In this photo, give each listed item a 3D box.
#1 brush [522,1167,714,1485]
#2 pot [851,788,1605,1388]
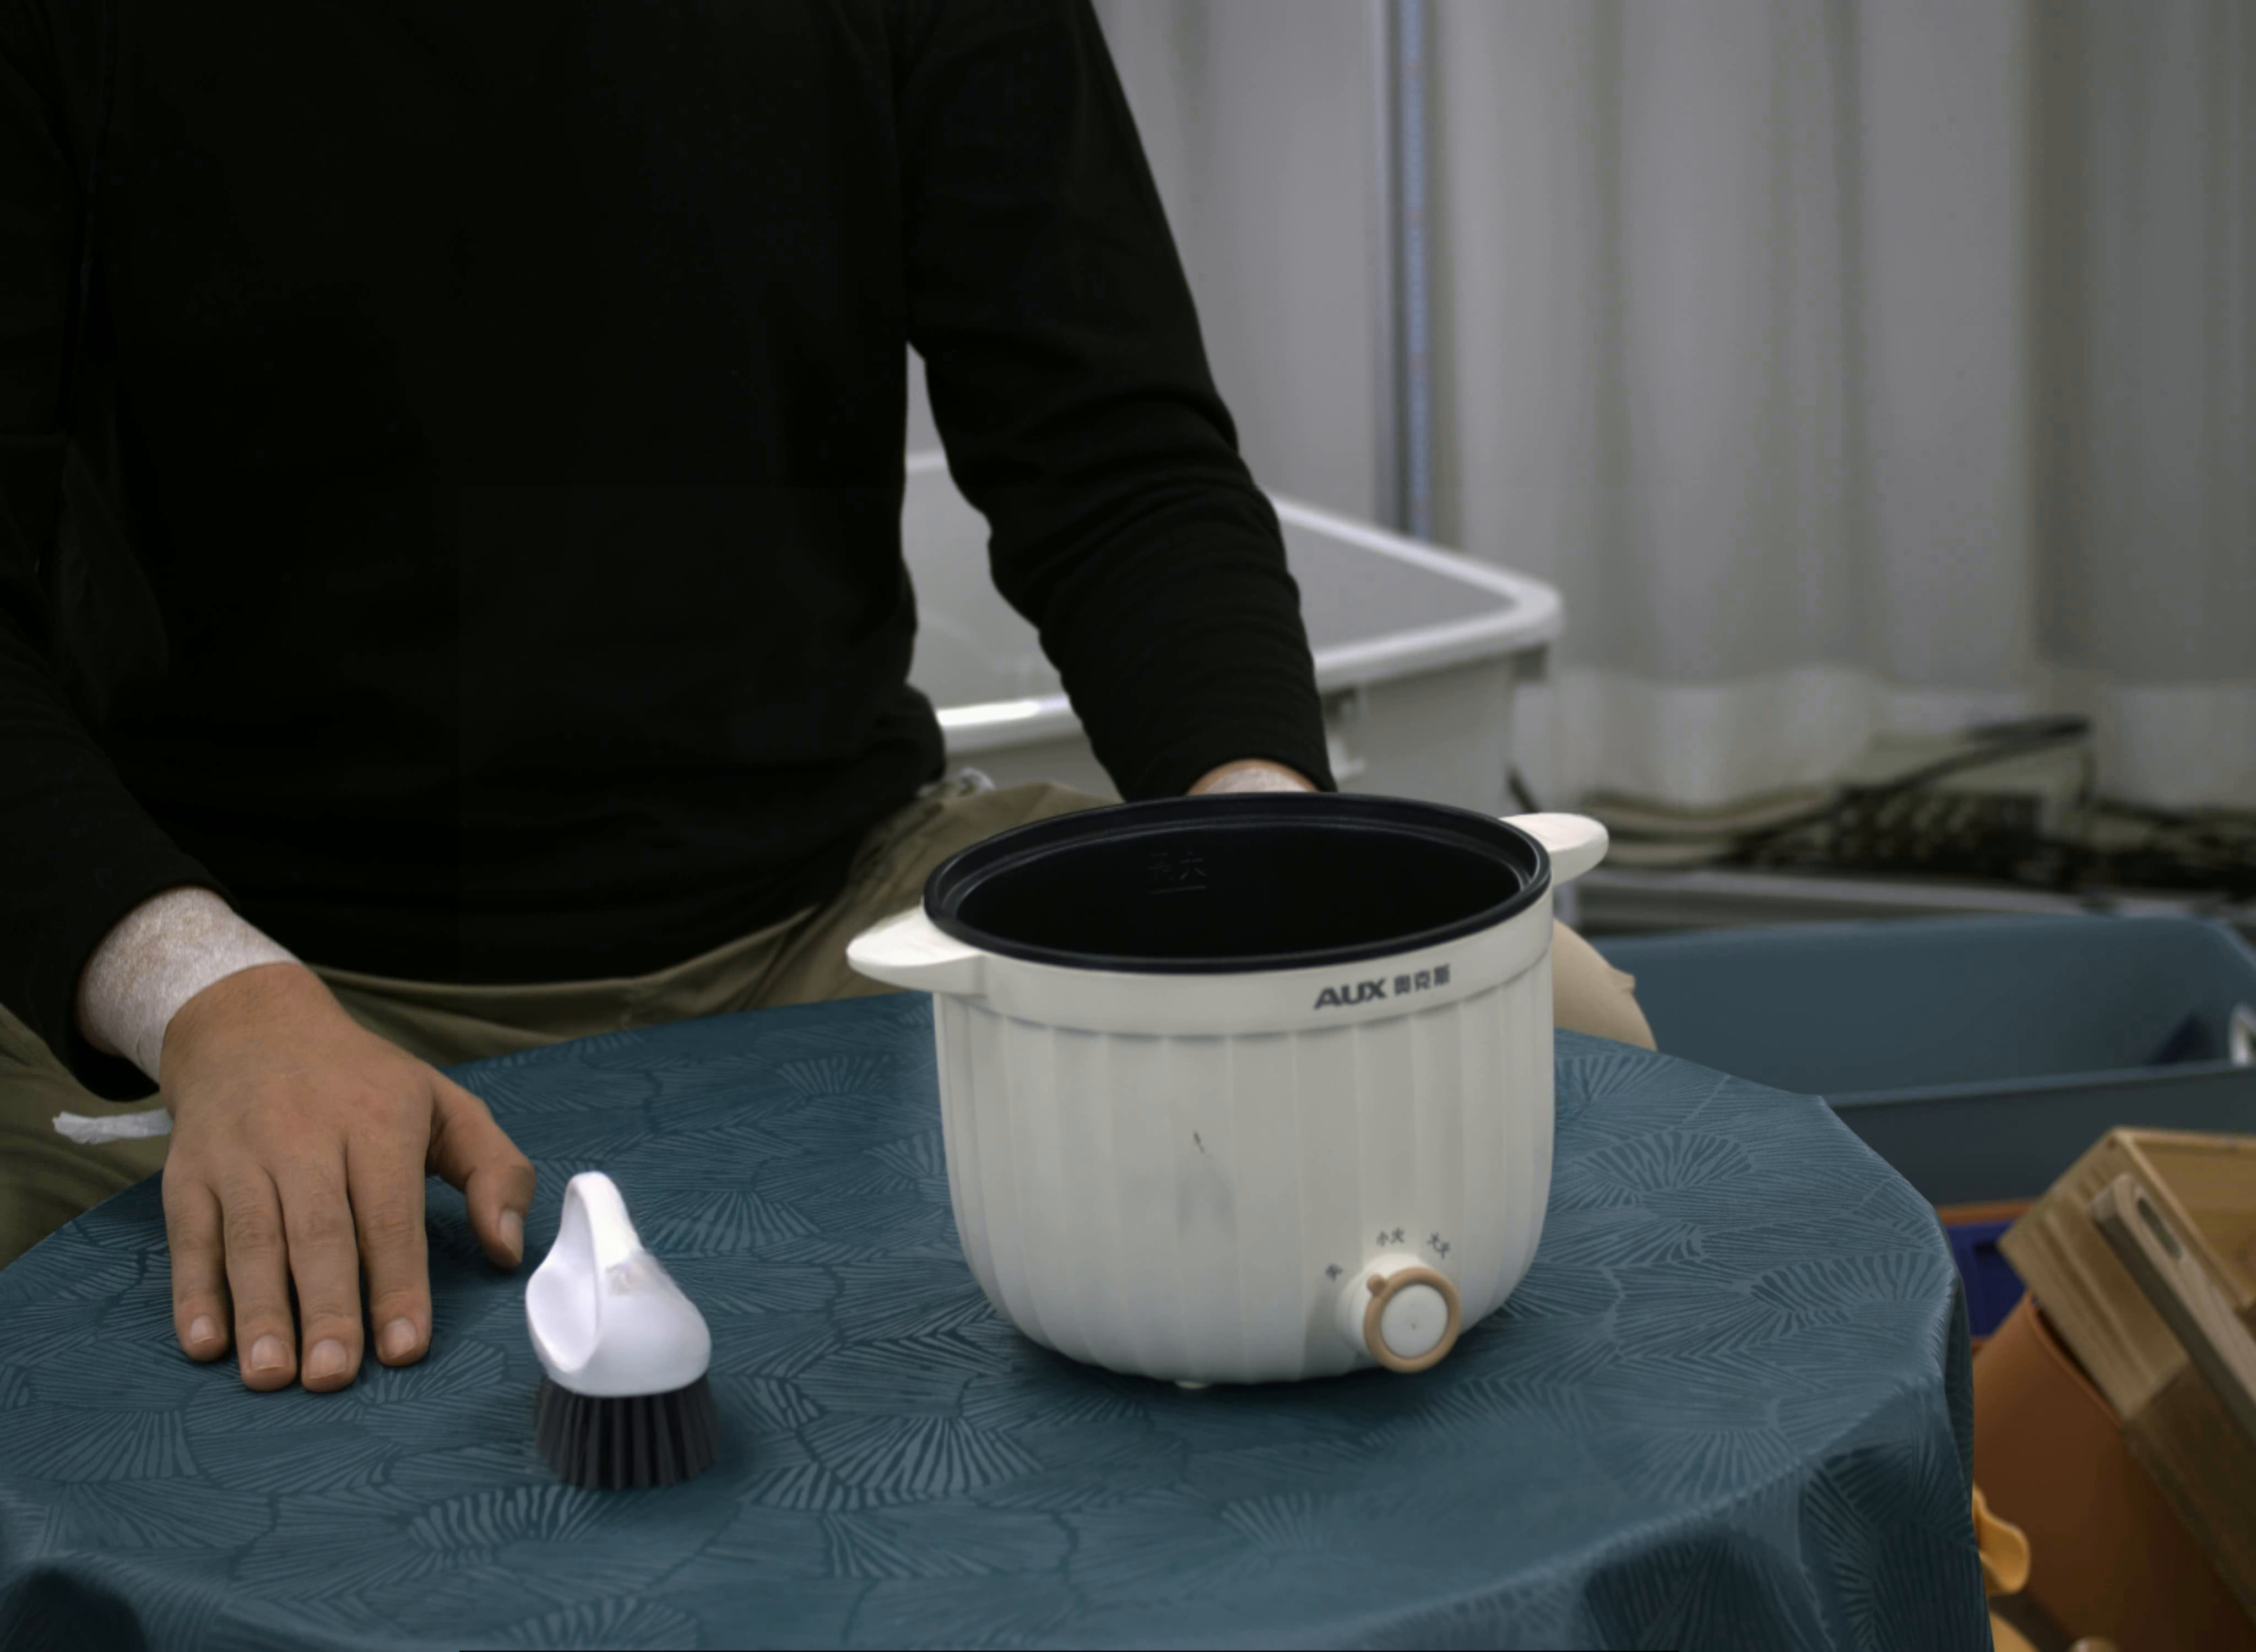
[{"bbox_3d":[-0.144,0.134,1.527,0.050,0.072,0.100,-5,14,-10],"label":"brush"},{"bbox_3d":[0.038,0.078,1.579,0.239,0.142,0.192,-11,14,-24],"label":"pot"}]
